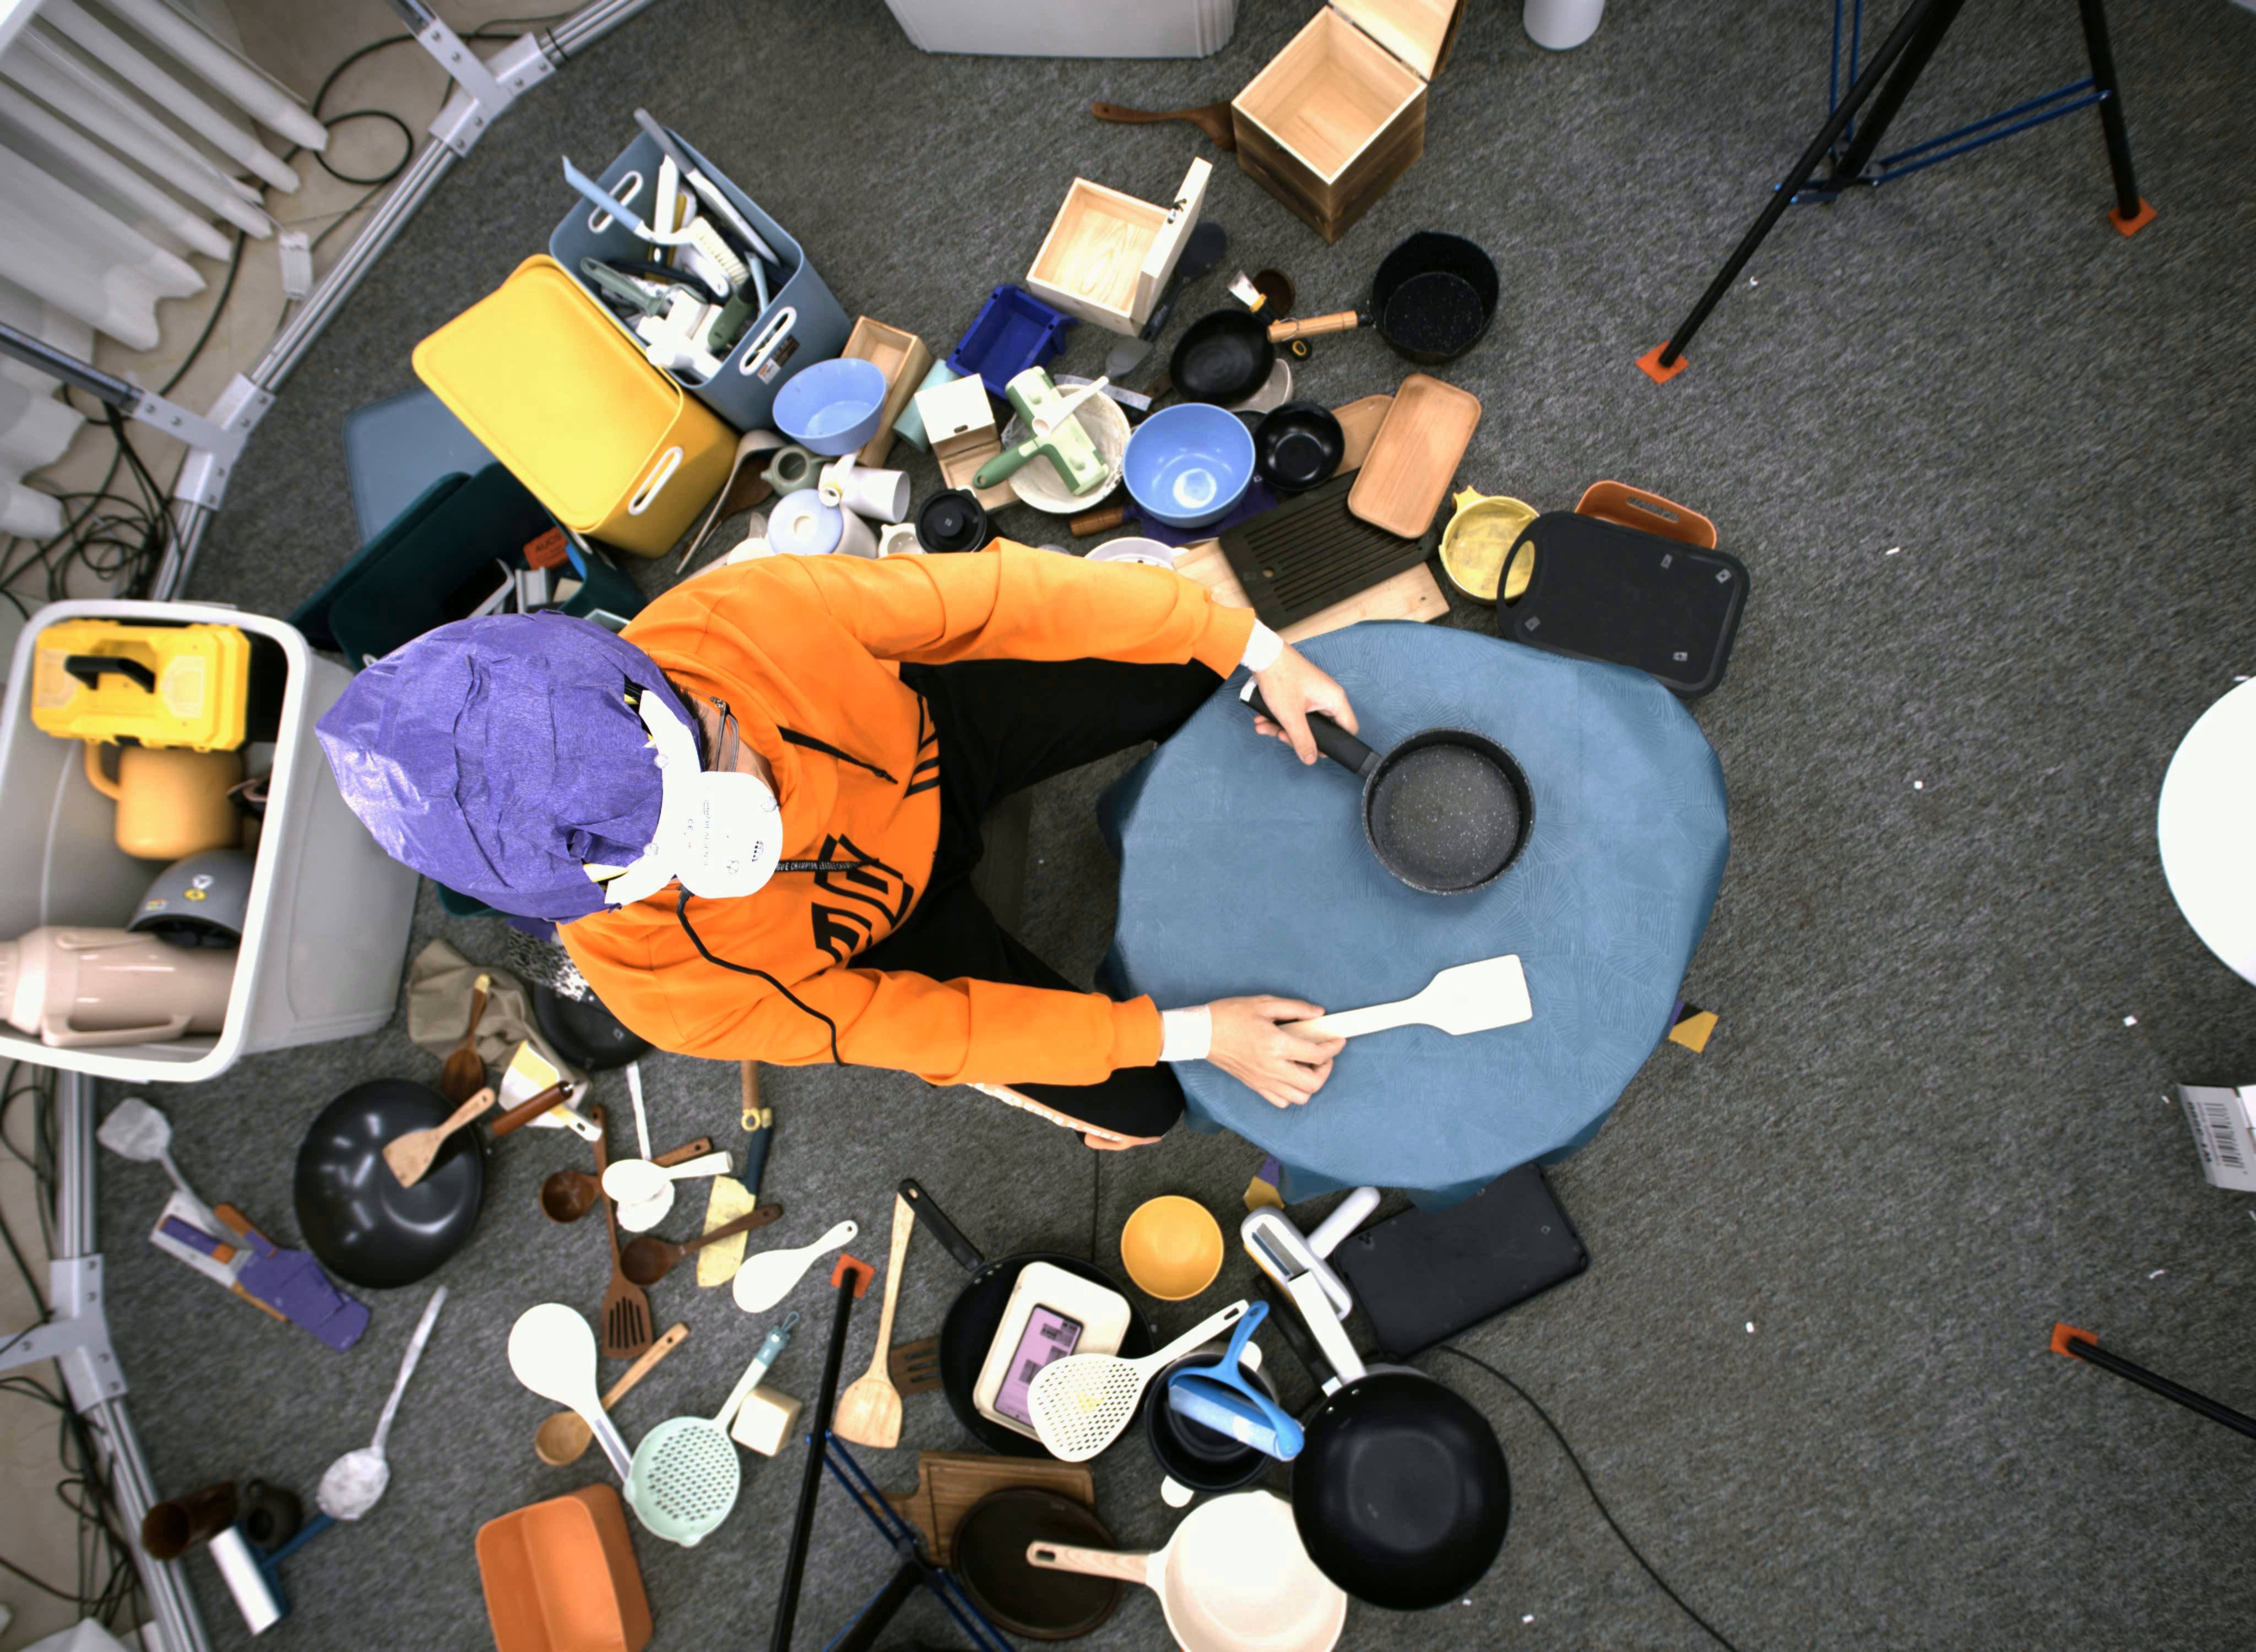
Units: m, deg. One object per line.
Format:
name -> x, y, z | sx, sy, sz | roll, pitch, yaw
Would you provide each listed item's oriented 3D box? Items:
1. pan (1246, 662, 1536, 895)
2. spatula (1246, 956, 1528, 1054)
pan -> 0.263, -0.059, 1.425 | 0.328, 0.086, 0.172 | 36, 92, 9
spatula -> 0.267, 0.198, 1.445 | 0.294, 0.010, 0.072 | -13, 87, 7
